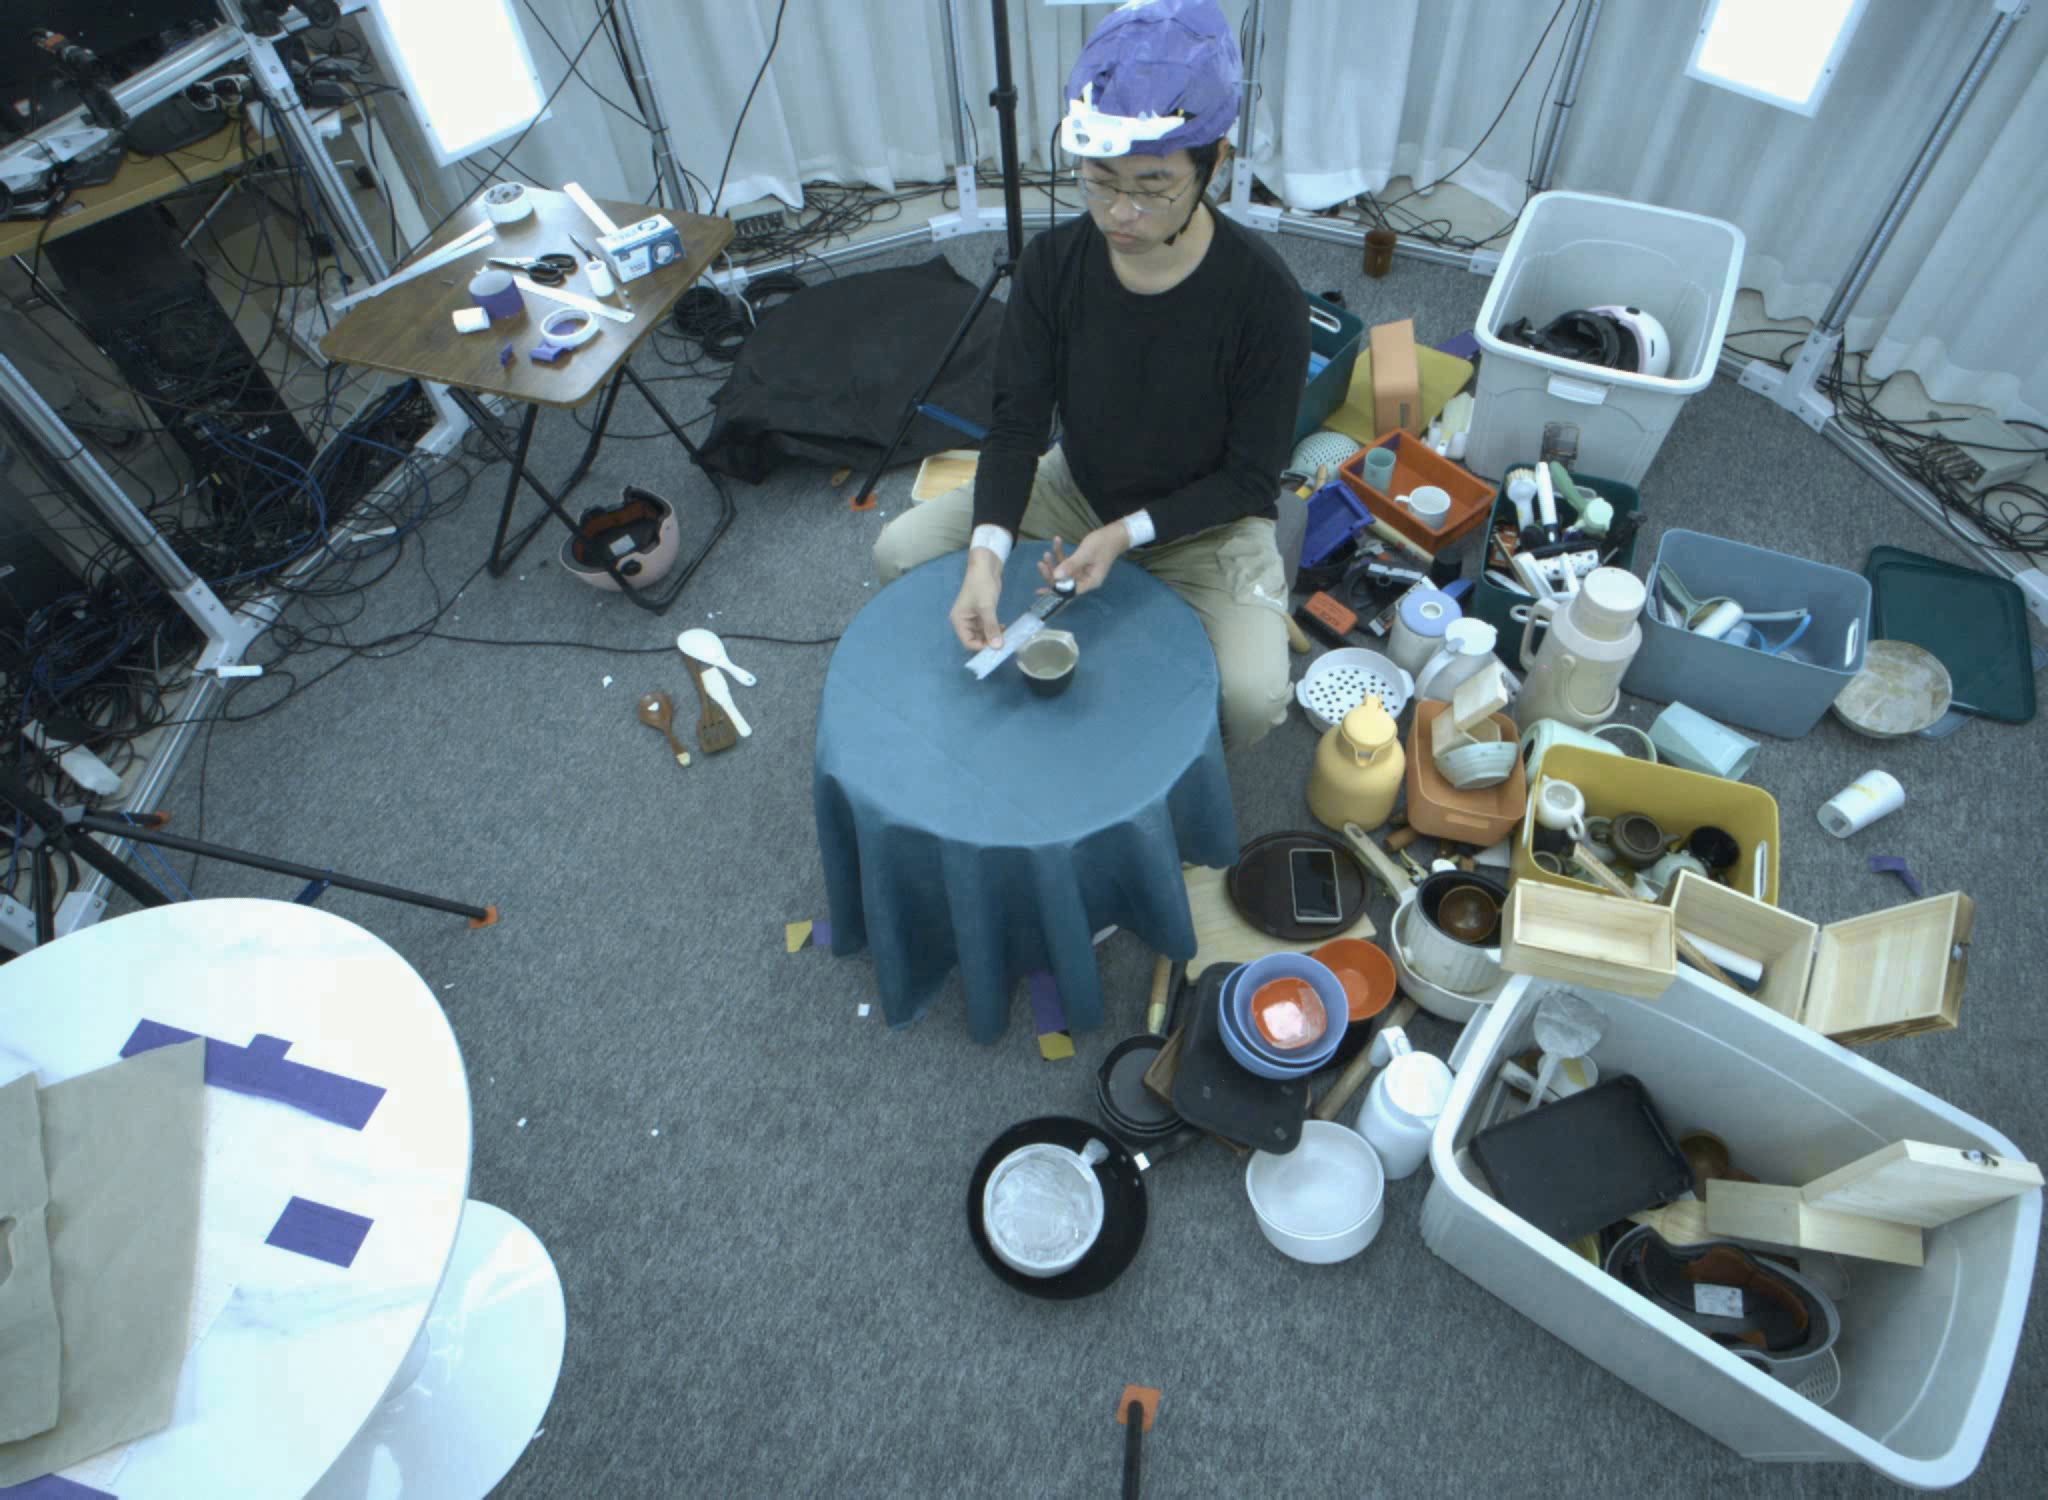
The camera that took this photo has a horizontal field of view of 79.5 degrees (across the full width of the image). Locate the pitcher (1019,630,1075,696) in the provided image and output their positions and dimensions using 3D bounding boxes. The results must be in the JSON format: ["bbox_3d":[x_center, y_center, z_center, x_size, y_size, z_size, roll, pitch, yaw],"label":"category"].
[{"bbox_3d":[0.039,-0.125,1.830,0.082,0.072,0.096,33,63,24],"label":"pitcher"}]

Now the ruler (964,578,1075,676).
[{"bbox_3d":[-0.003,-0.187,1.818,0.037,0.024,0.219,33,61,28],"label":"ruler"}]
